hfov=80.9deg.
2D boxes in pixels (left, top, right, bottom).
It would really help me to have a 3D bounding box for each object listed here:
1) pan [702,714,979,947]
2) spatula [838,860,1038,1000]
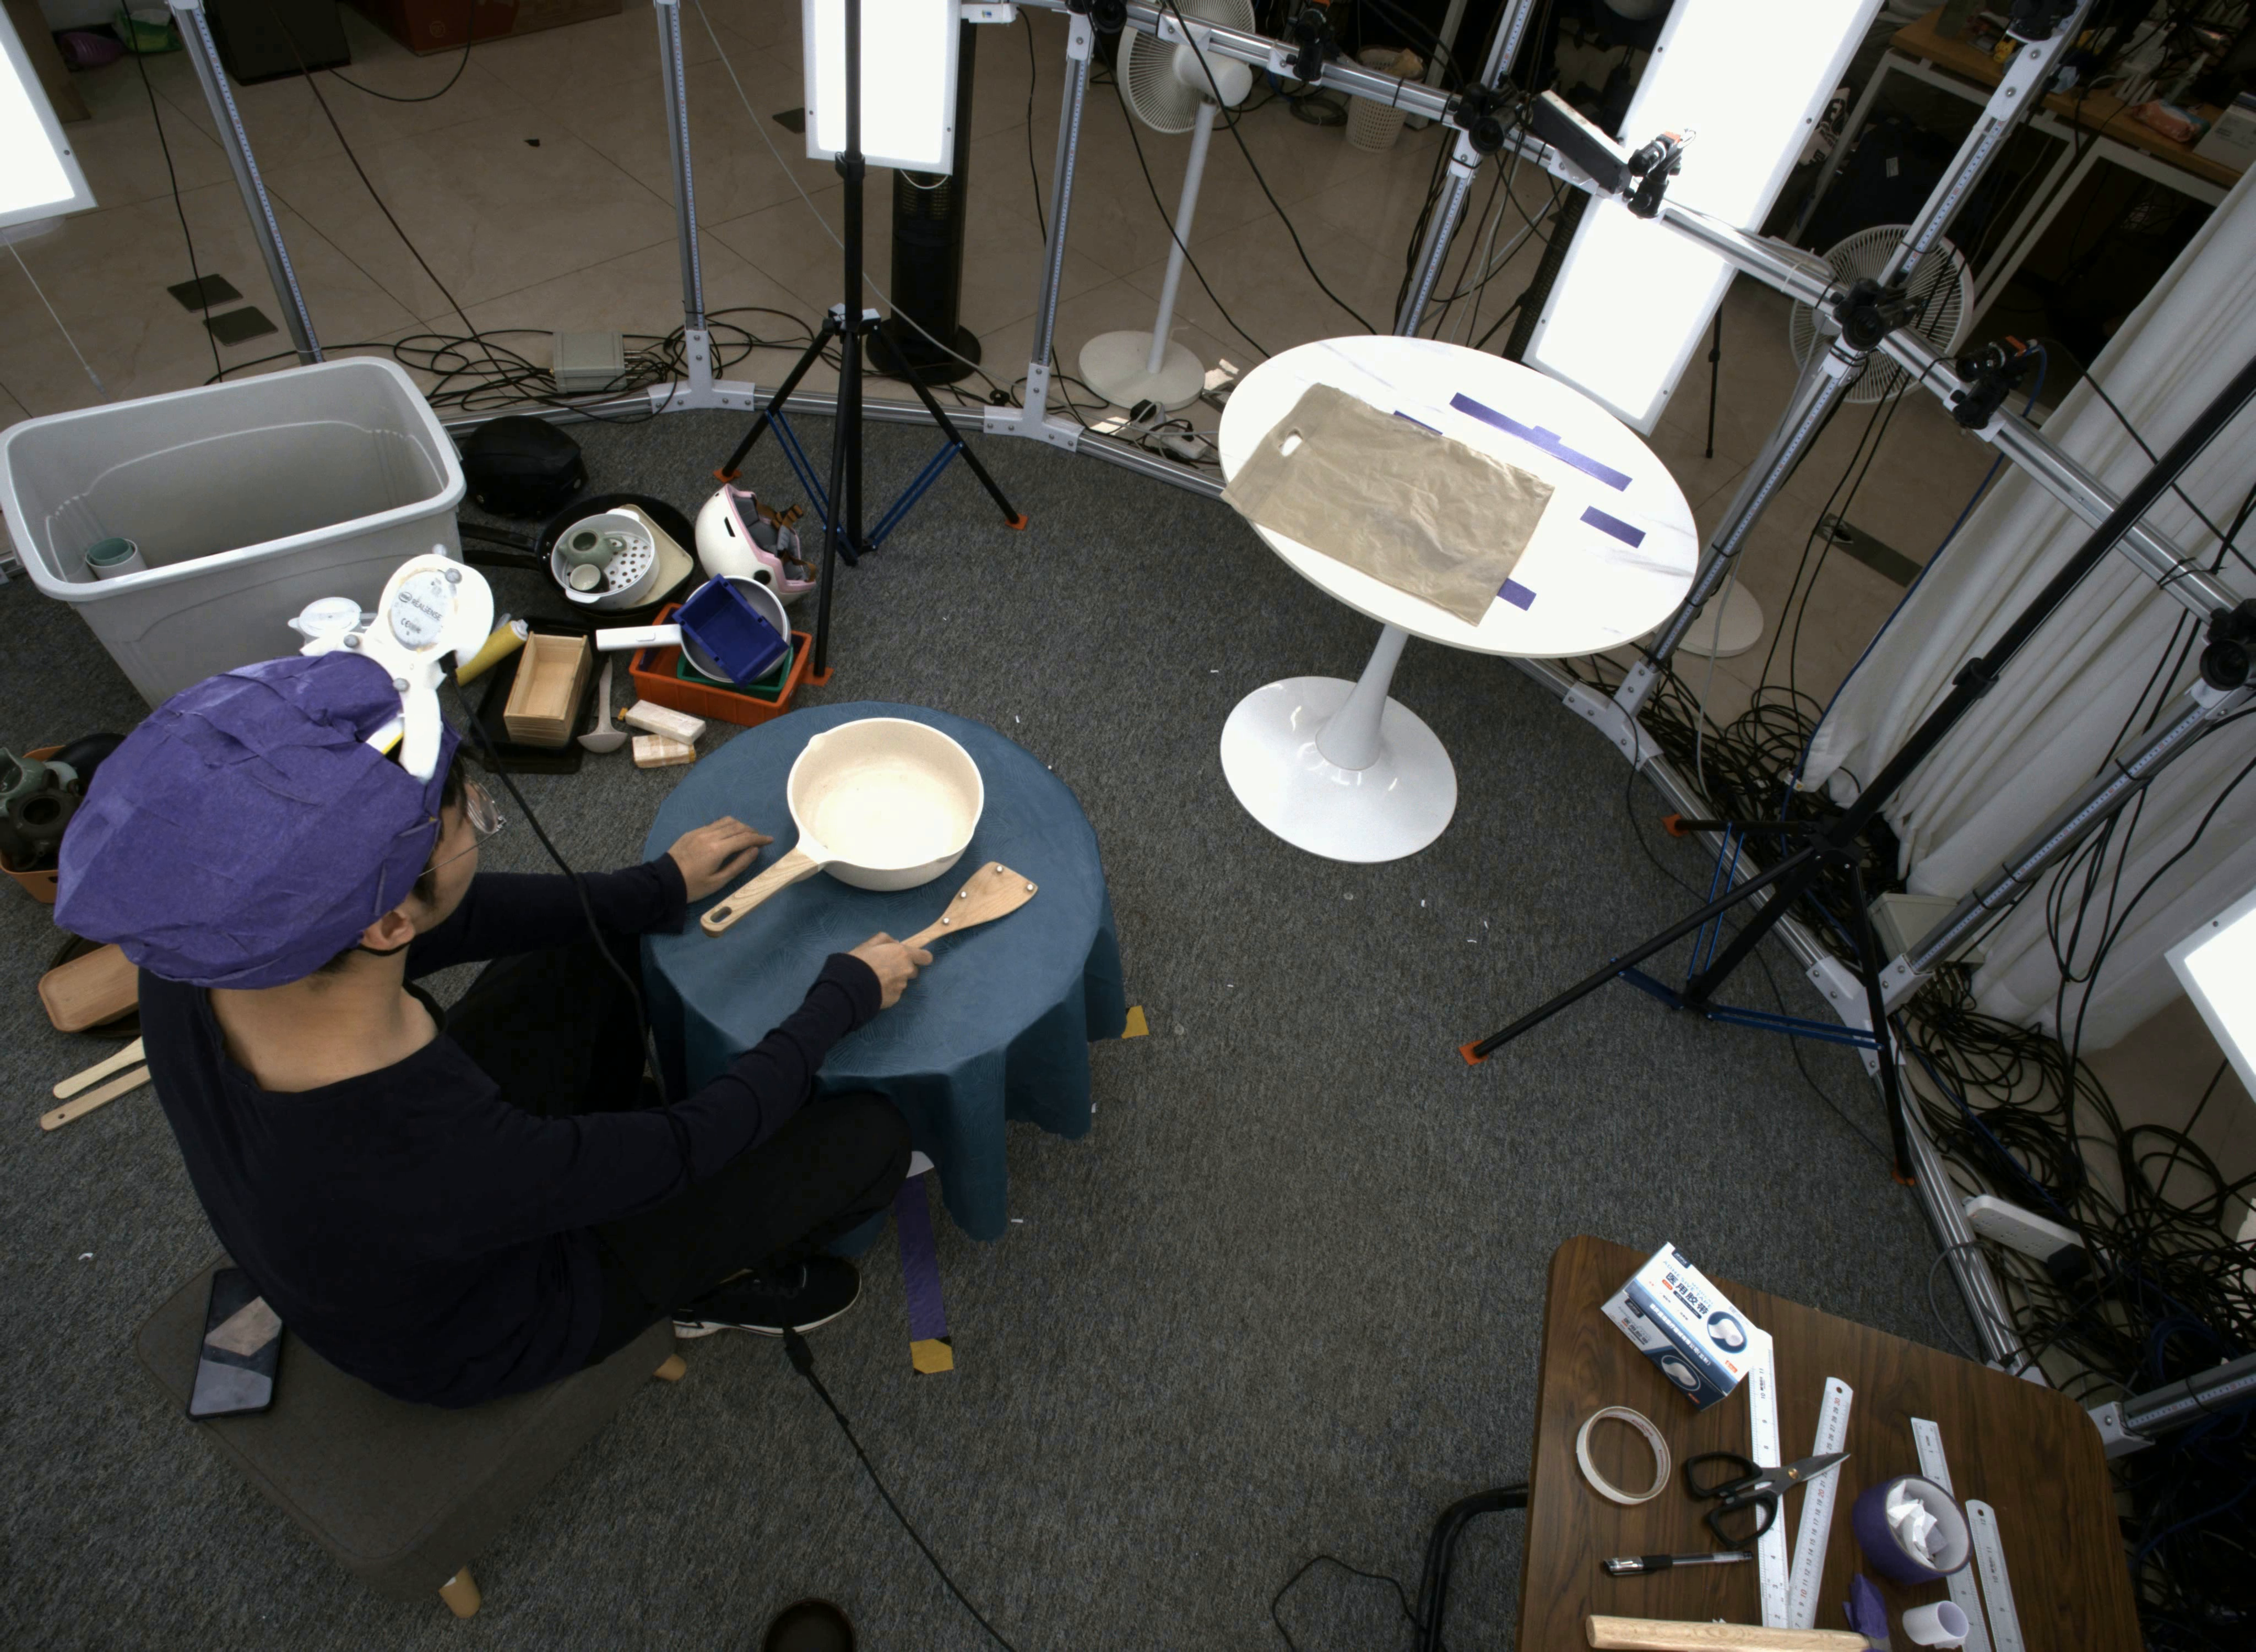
[{"bbox_3d":[-0.374,0.025,1.652,0.258,0.104,0.434,35,54,12],"label":"pan"},{"bbox_3d":[-0.241,0.128,1.633,0.078,0.017,0.329,38,41,16],"label":"spatula"}]
